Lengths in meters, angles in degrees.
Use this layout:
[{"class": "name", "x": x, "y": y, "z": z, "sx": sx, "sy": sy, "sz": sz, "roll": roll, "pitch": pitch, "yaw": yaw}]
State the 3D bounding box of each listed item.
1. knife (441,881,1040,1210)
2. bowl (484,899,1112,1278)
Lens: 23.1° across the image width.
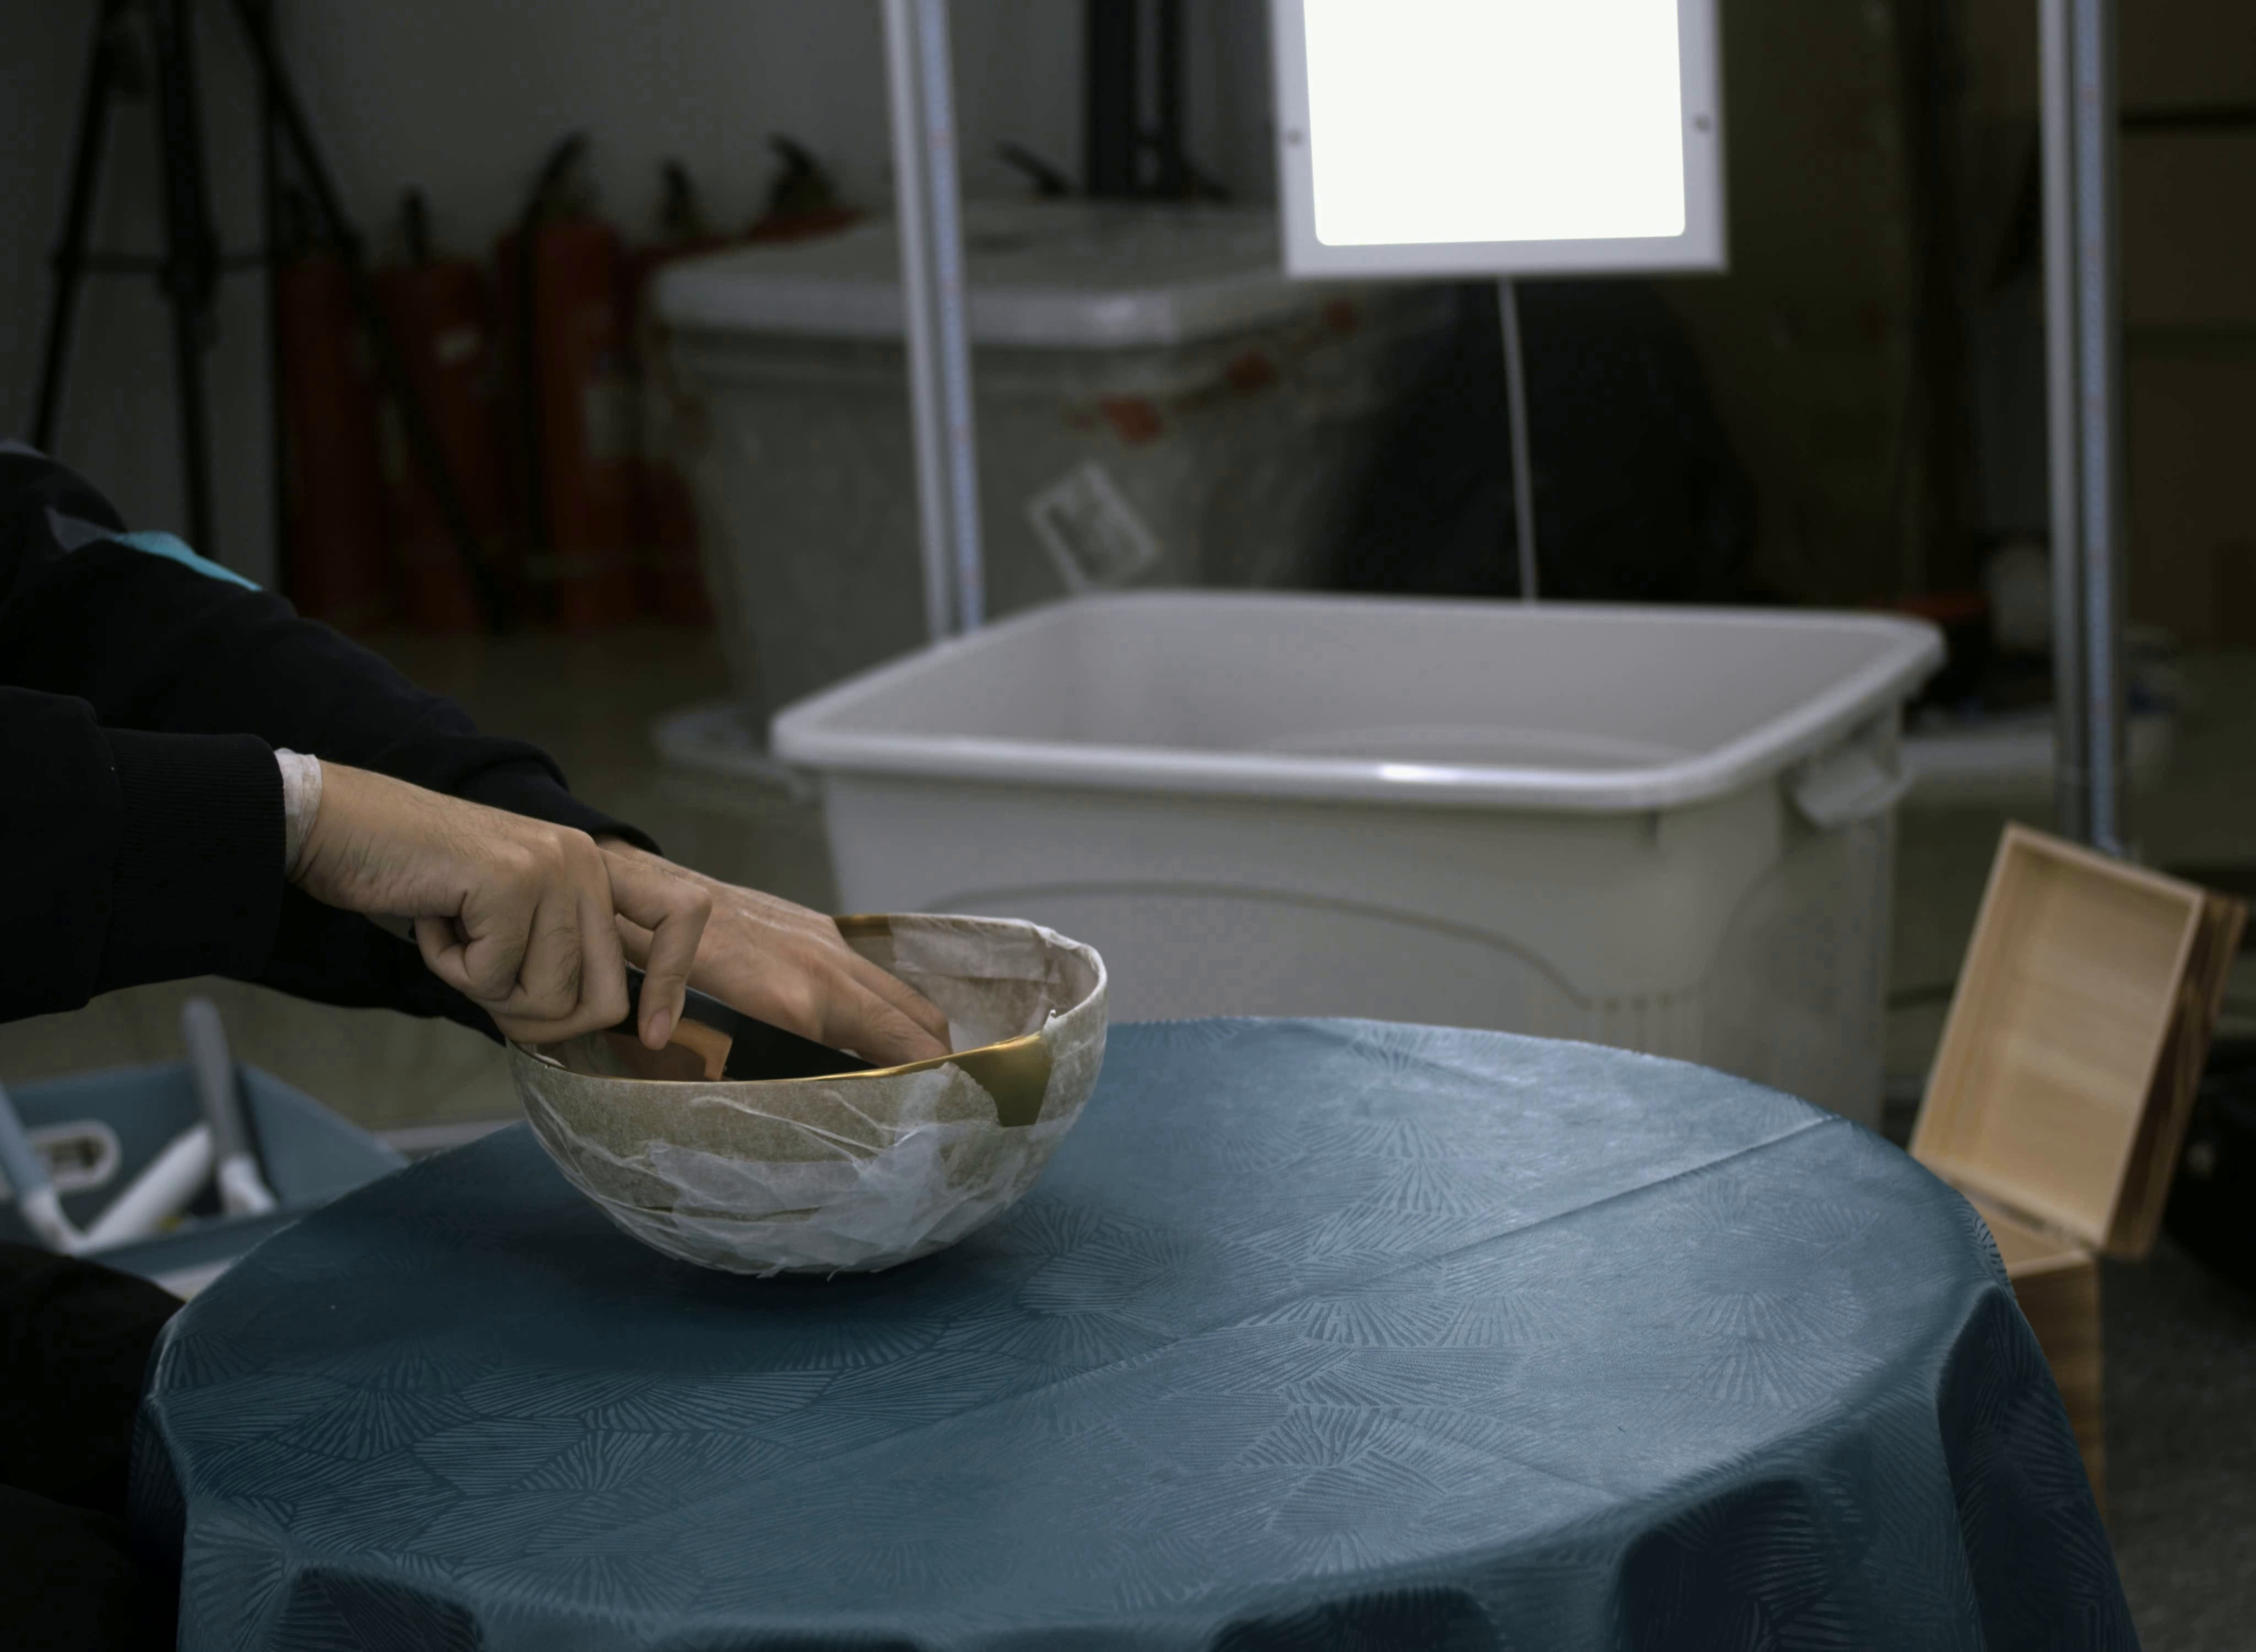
[{"class": "knife", "x": -0.128, "y": 0.073, "z": 1.832, "sx": 0.224, "sy": 0.026, "sz": 0.017, "roll": 26, "pitch": 2, "yaw": -4}, {"class": "bowl", "x": -0.108, "y": 0.097, "z": 1.853, "sx": 0.214, "sy": 0.095, "sz": 0.214, "roll": -4, "pitch": 15, "yaw": 0}]
